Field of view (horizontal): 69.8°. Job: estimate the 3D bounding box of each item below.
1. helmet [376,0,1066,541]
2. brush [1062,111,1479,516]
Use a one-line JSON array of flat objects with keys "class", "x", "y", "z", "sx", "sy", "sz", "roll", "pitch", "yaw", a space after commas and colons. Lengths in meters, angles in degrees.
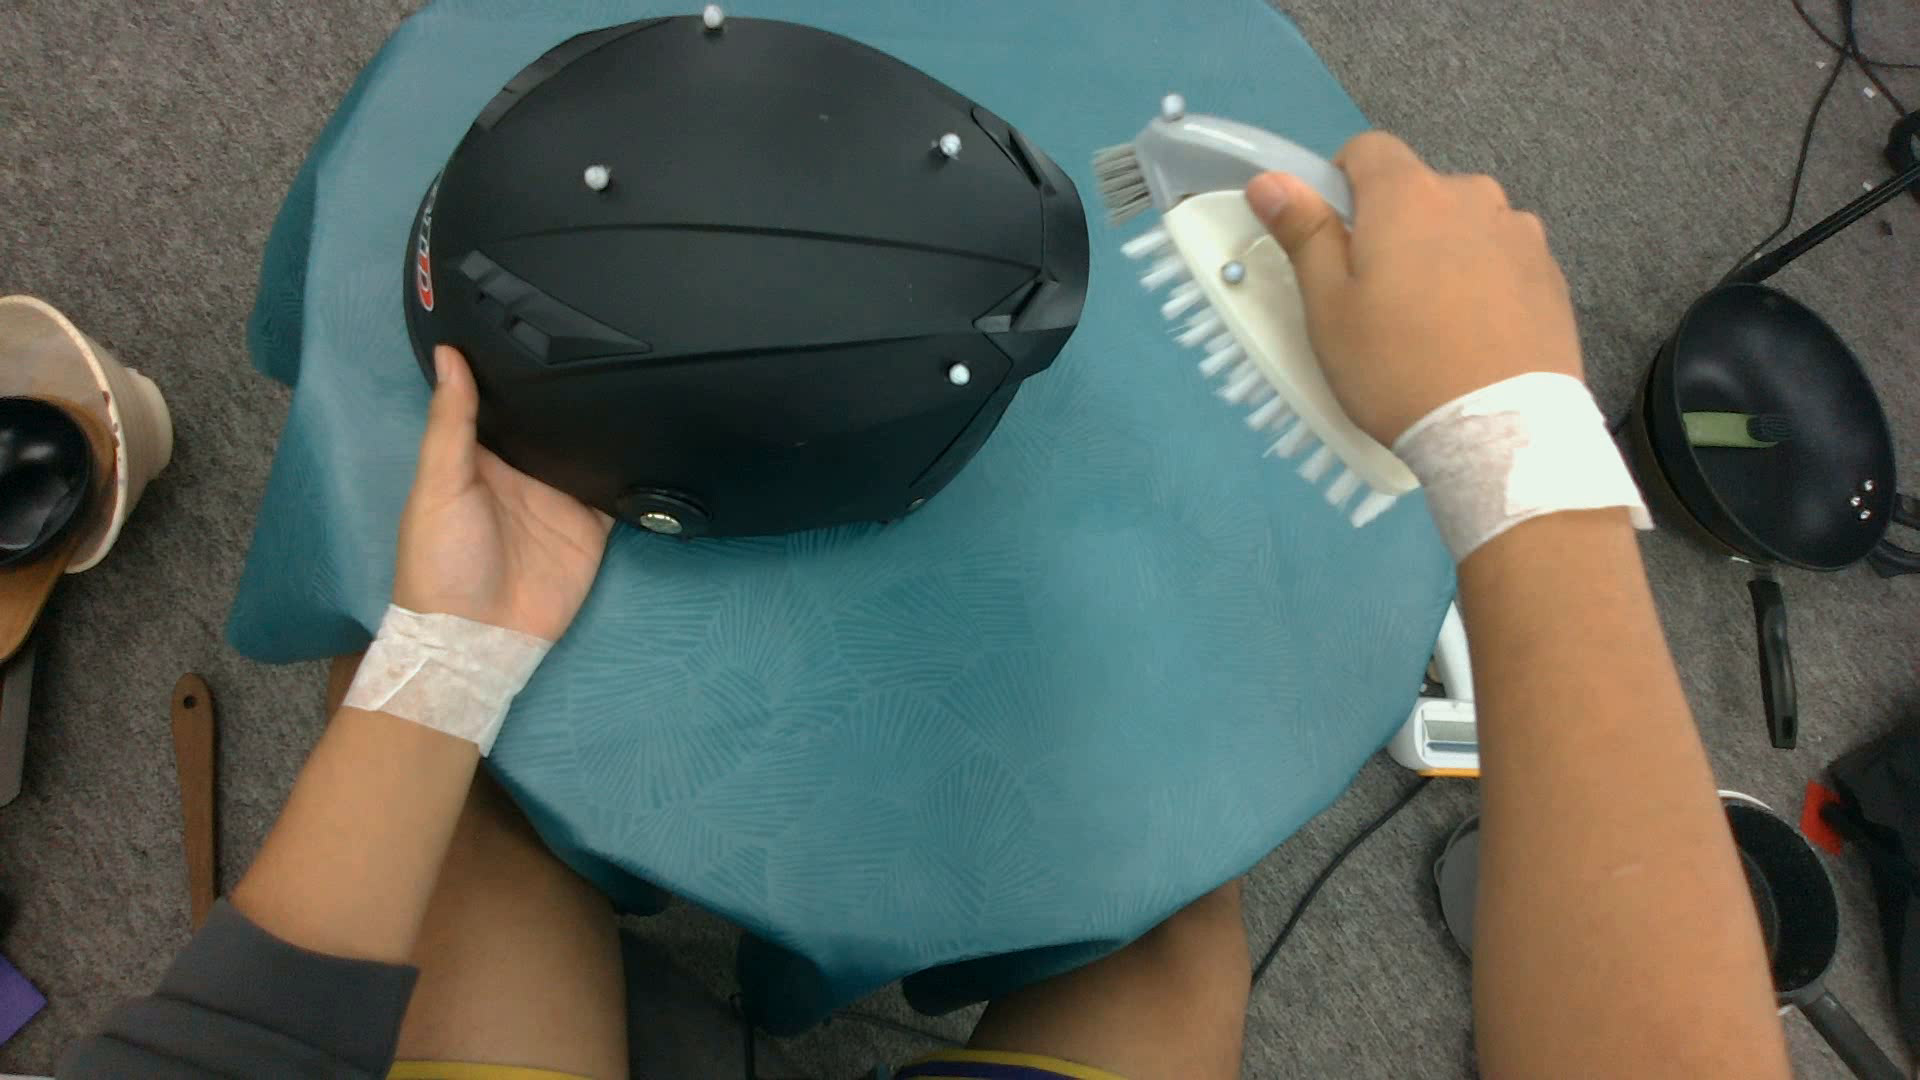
[{"class": "helmet", "x": -0.100, "y": -0.130, "z": 0.592, "sx": 0.277, "sy": 0.171, "sz": 0.247, "roll": 7, "pitch": 71, "yaw": -20}, {"class": "brush", "x": 0.115, "y": -0.097, "z": 0.503, "sx": 0.175, "sy": 0.094, "sz": 0.062, "roll": 47, "pitch": 58, "yaw": 2}]
